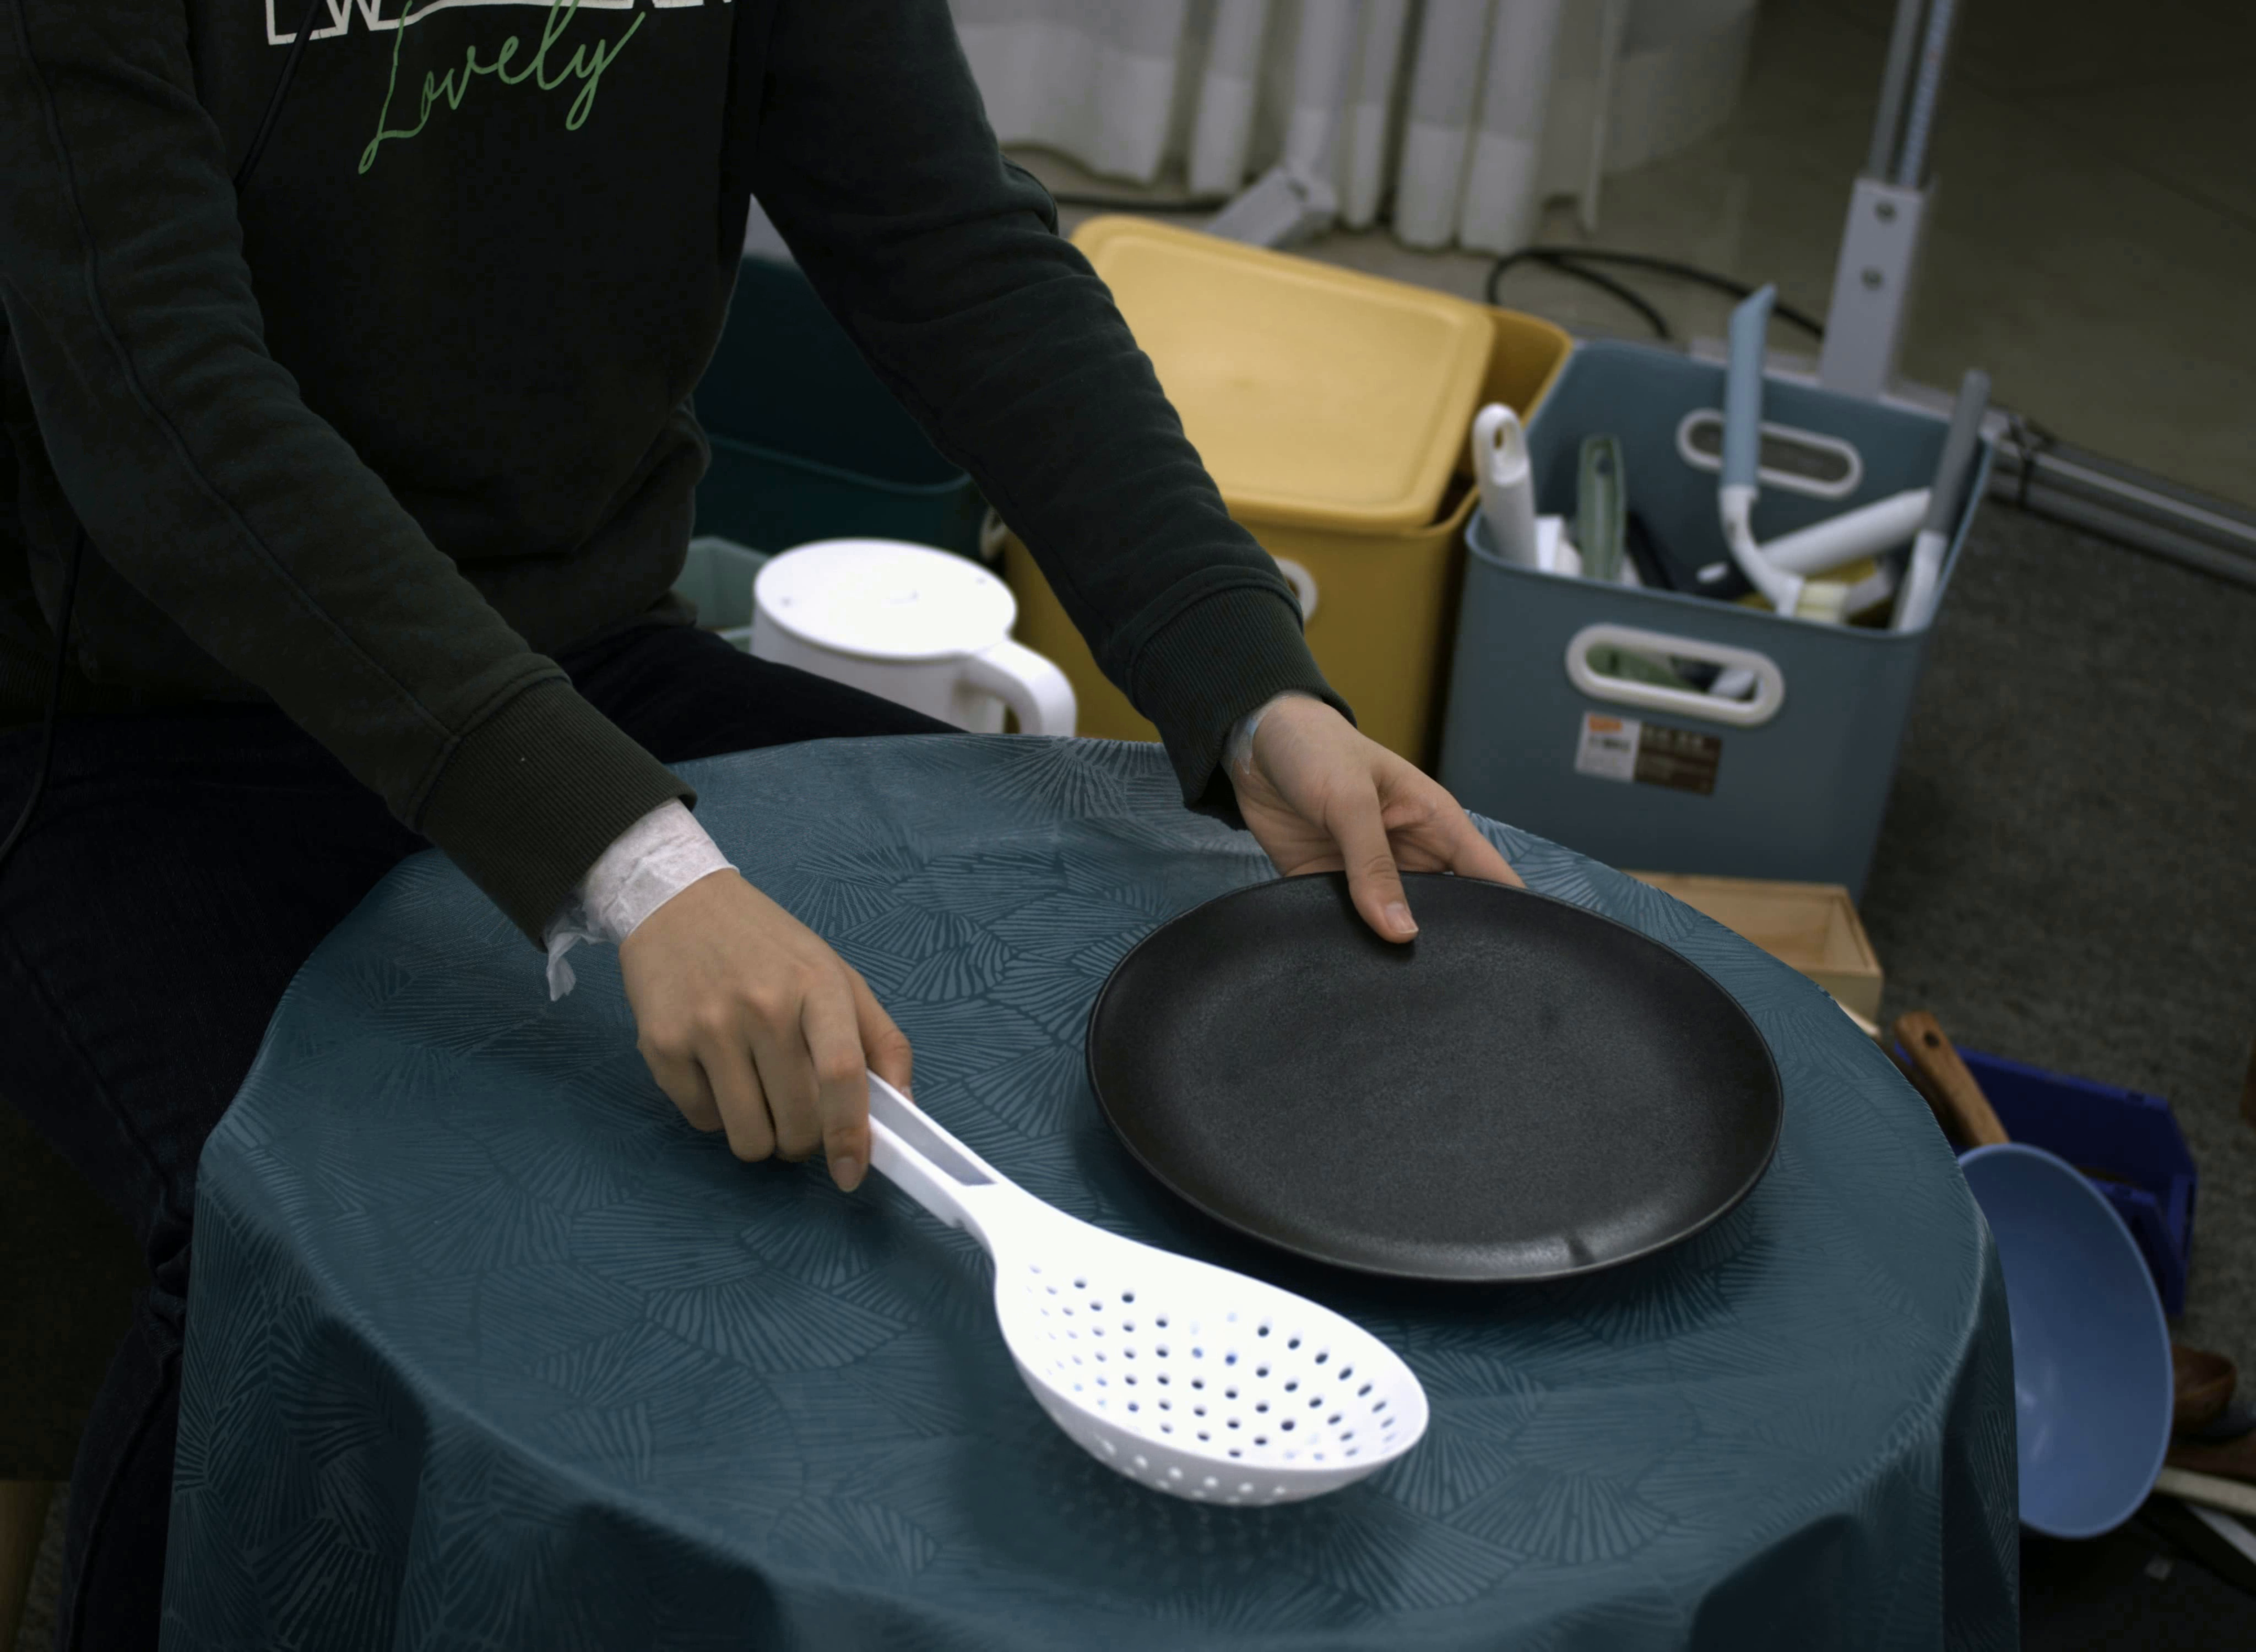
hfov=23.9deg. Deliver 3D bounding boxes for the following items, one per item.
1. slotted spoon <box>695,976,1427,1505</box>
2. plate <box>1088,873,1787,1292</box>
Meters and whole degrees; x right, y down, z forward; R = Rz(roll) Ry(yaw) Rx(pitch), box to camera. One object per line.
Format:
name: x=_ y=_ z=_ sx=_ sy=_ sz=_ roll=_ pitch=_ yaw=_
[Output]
slotted spoon: x=-0.039 y=0.128 z=1.714 sx=0.135 sy=0.045 sz=0.353 roll=-1 pitch=29 yaw=-39
plate: x=0.106 y=0.091 z=1.842 sx=0.243 sy=0.023 sz=0.246 roll=3 pitch=33 yaw=-2
